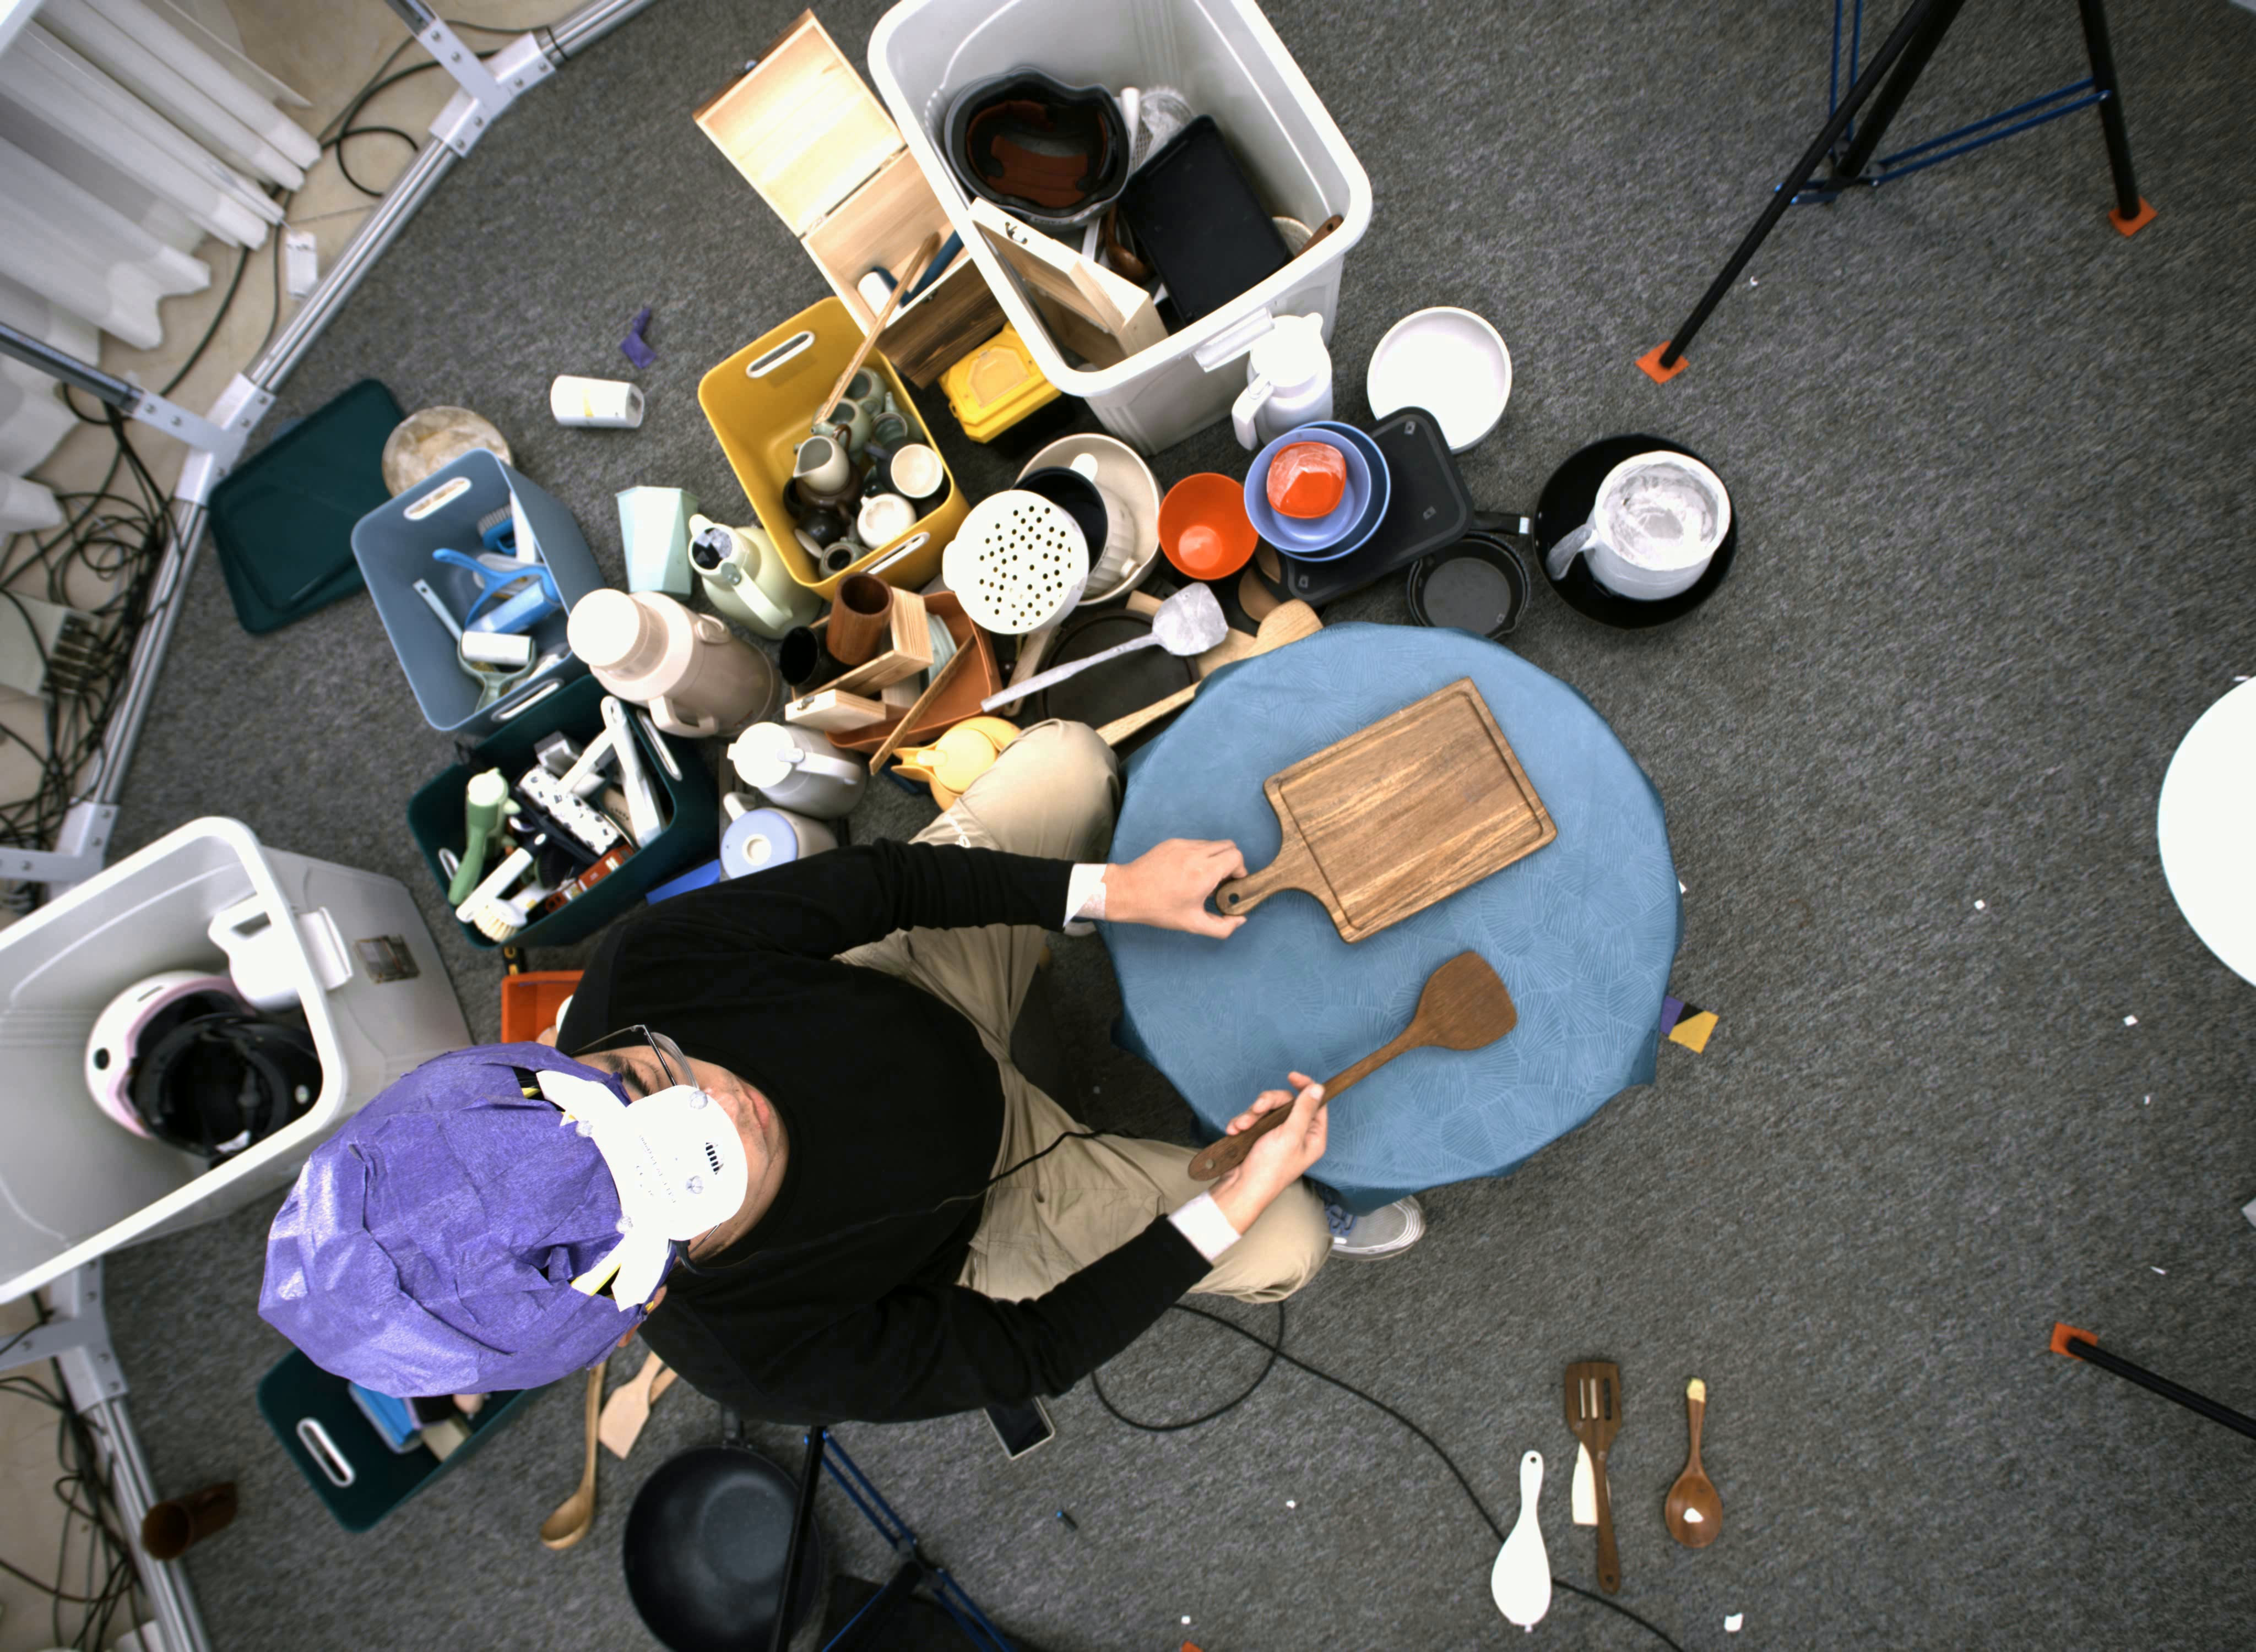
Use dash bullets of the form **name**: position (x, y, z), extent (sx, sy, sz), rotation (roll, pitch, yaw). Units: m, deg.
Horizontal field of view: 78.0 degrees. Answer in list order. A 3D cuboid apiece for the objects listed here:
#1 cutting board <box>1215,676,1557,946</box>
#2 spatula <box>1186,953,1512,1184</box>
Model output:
- **cutting board**: position (0.248, 0.004, 1.440), extent (0.353, 0.023, 0.200), rotation (-28, 82, 2)
- **spatula**: position (0.222, 0.251, 1.387), extent (0.382, 0.016, 0.095), rotation (-28, 83, -15)
